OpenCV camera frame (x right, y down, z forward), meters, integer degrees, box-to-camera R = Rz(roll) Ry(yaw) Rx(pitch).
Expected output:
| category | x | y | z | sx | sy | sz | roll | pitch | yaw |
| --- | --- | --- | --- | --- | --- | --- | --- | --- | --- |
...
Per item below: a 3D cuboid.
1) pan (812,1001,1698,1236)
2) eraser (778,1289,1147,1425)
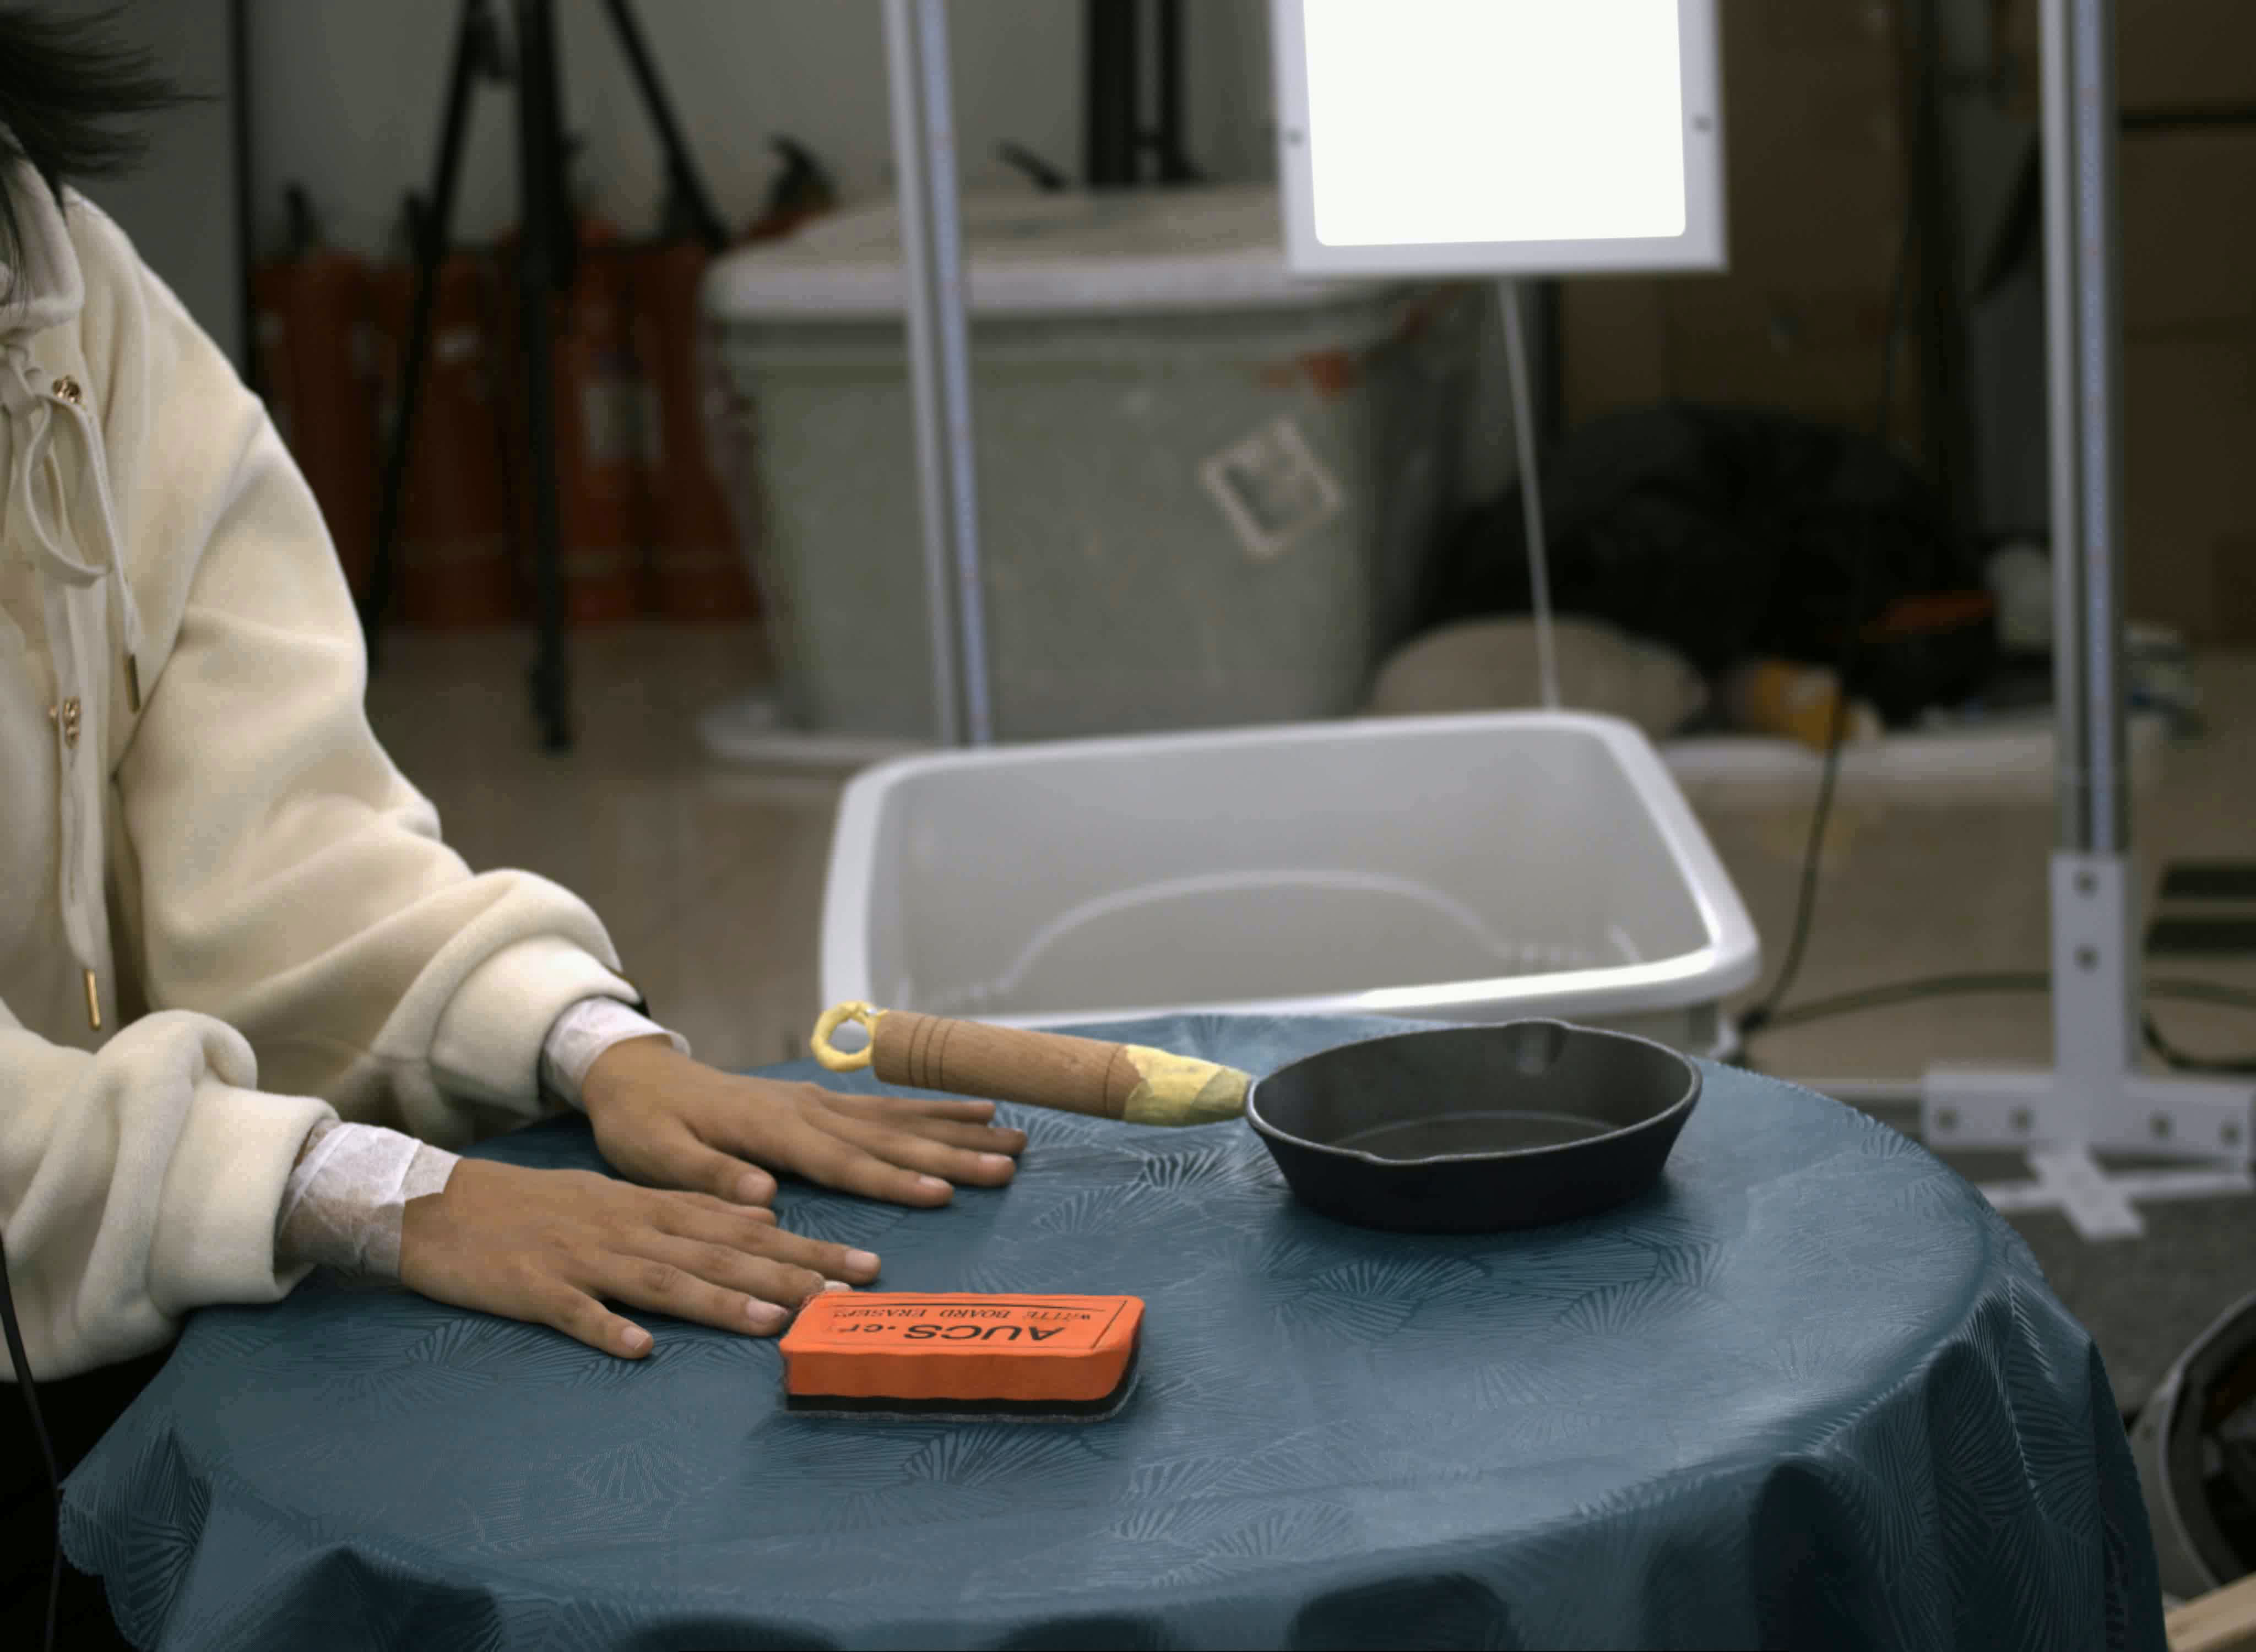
| category | x | y | z | sx | sy | sz | roll | pitch | yaw |
| --- | --- | --- | --- | --- | --- | --- | --- | --- | --- |
| pan | 0.040 | 0.094 | 1.910 | 0.329 | 0.050 | 0.165 | 3 | 16 | 25 |
| eraser | -0.051 | 0.165 | 1.712 | 0.109 | 0.023 | 0.058 | 0 | 15 | 19 |
